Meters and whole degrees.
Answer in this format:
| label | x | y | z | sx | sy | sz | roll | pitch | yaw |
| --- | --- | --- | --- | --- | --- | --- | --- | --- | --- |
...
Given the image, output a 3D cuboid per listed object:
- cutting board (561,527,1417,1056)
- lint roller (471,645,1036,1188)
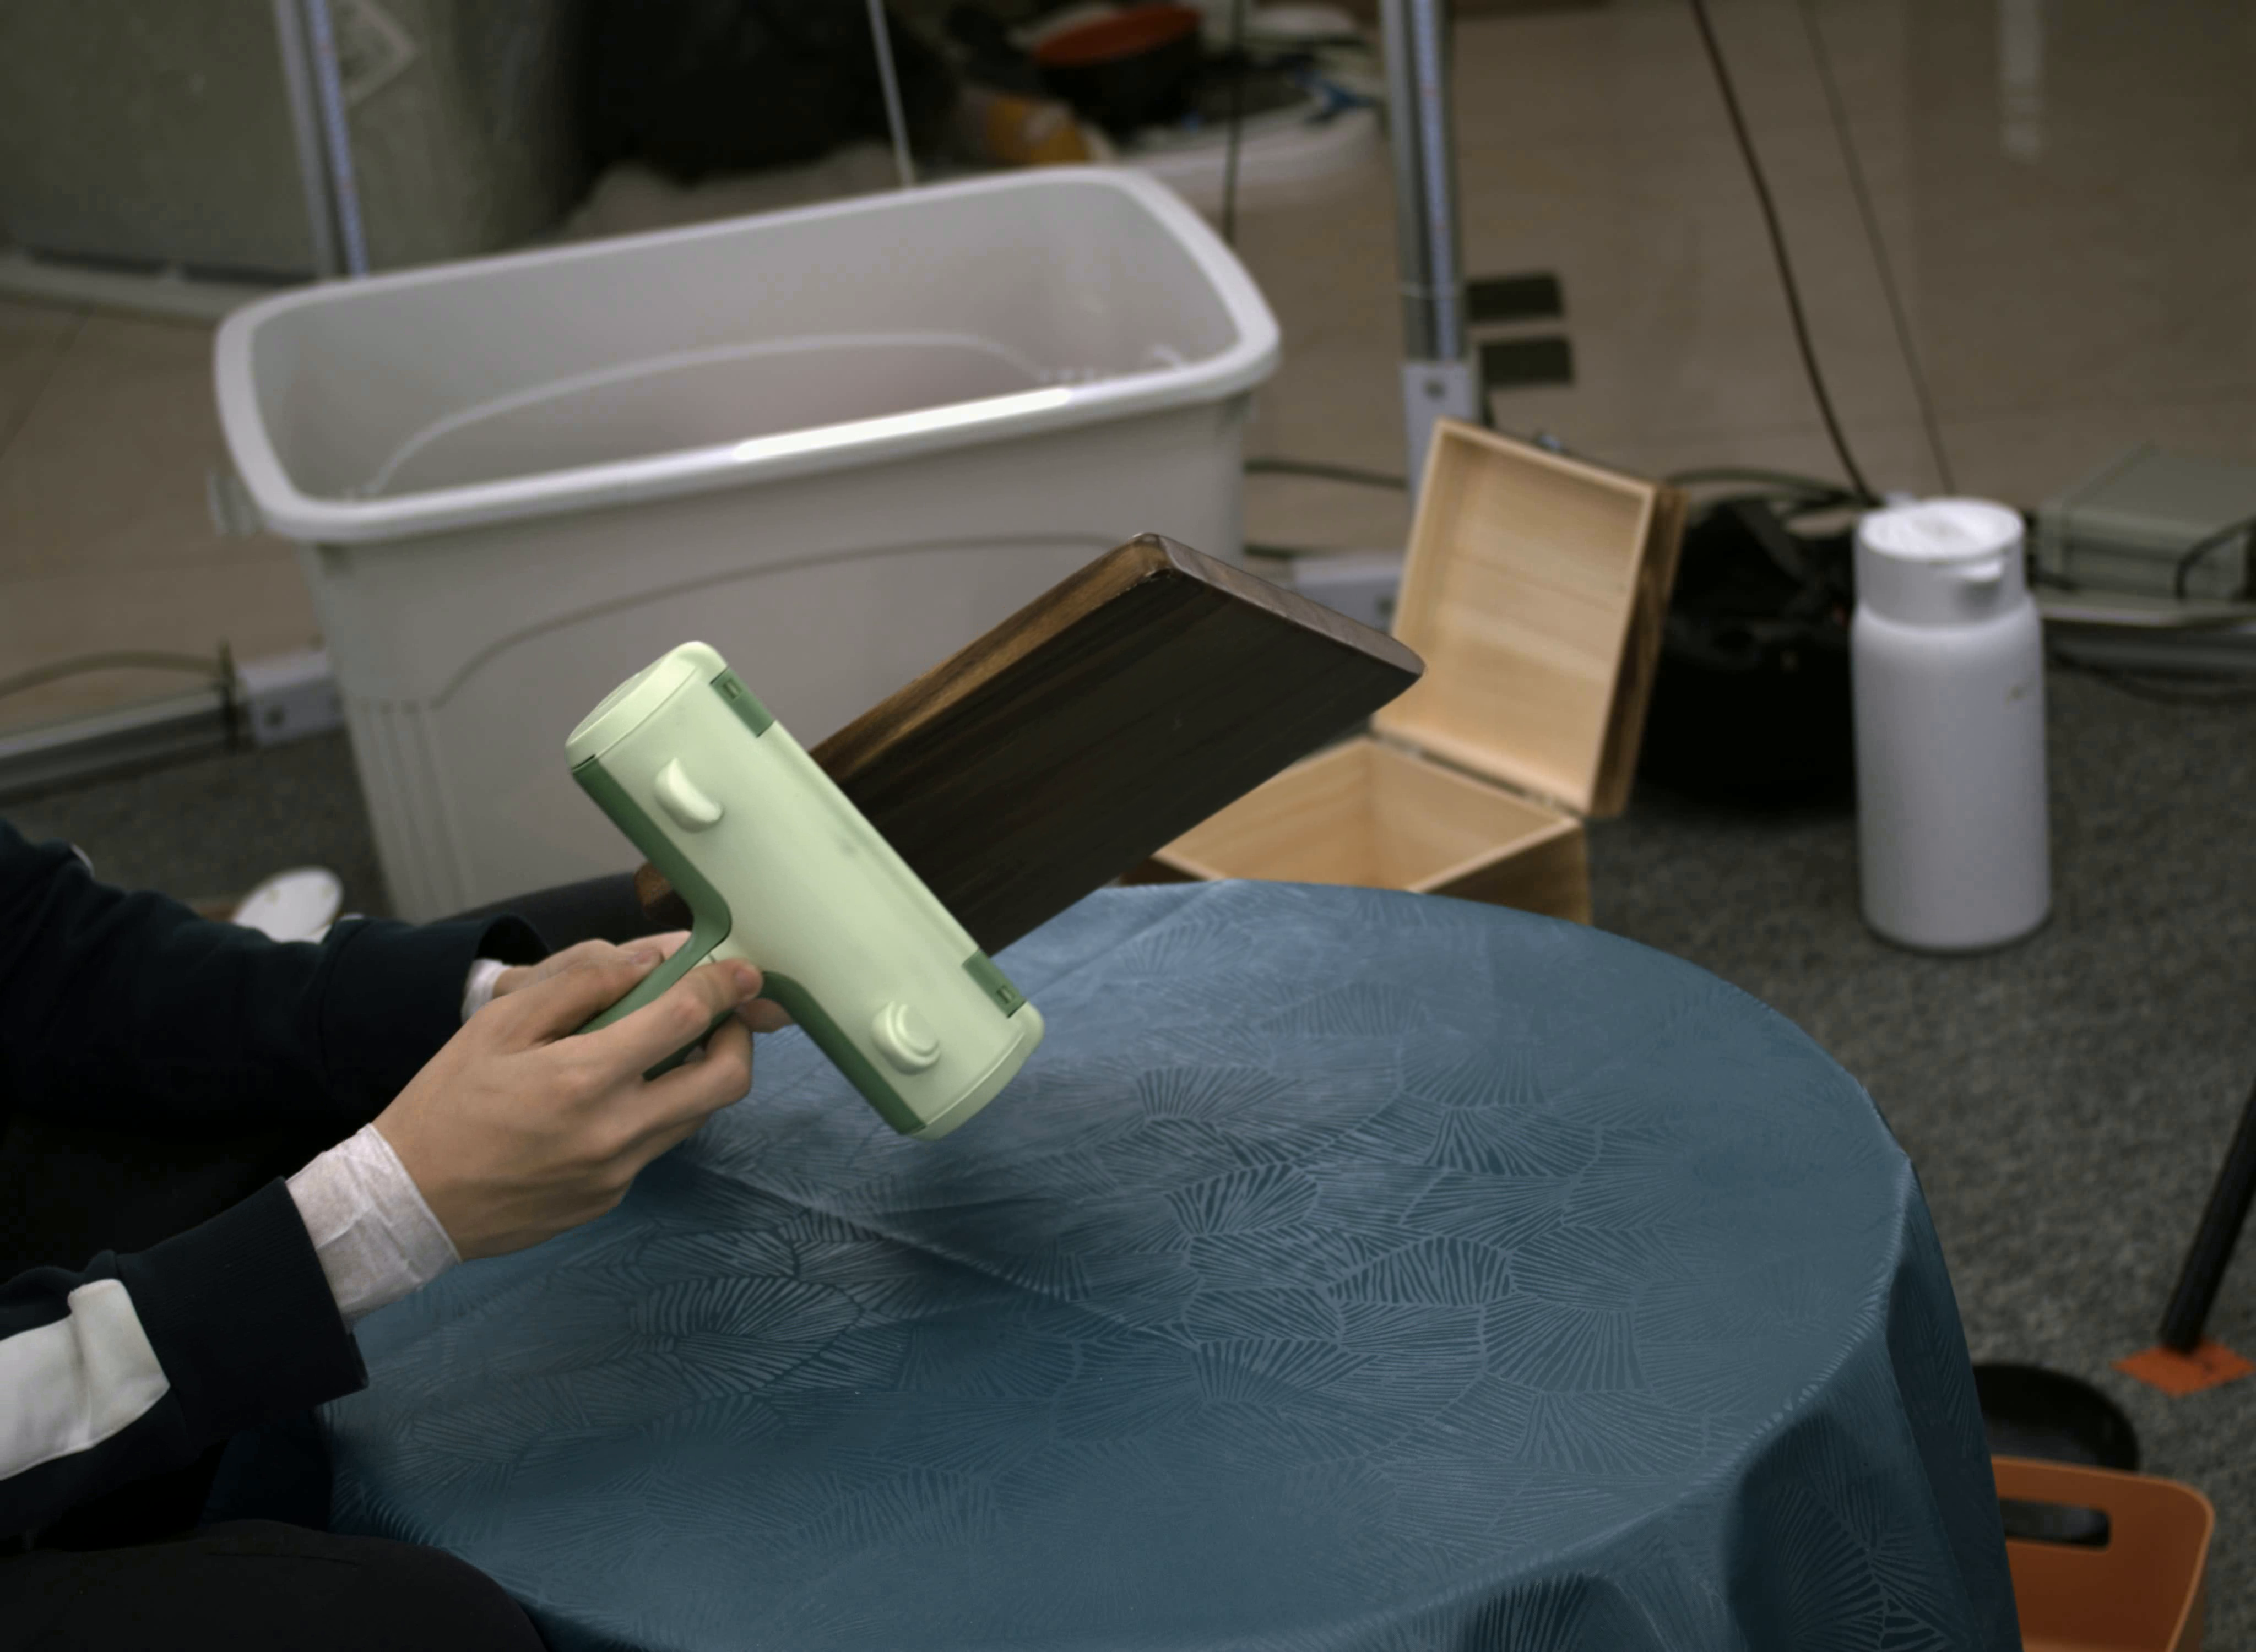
| label | x | y | z | sx | sy | sz | roll | pitch | yaw |
| --- | --- | --- | --- | --- | --- | --- | --- | --- | --- |
| cutting board | -0.075 | 0.006 | 2.137 | 0.354 | 0.023 | 0.202 | -33 | -26 | 22 |
| lint roller | -0.158 | 0.065 | 2.003 | 0.182 | 0.200 | 0.082 | -43 | 12 | -8 |
